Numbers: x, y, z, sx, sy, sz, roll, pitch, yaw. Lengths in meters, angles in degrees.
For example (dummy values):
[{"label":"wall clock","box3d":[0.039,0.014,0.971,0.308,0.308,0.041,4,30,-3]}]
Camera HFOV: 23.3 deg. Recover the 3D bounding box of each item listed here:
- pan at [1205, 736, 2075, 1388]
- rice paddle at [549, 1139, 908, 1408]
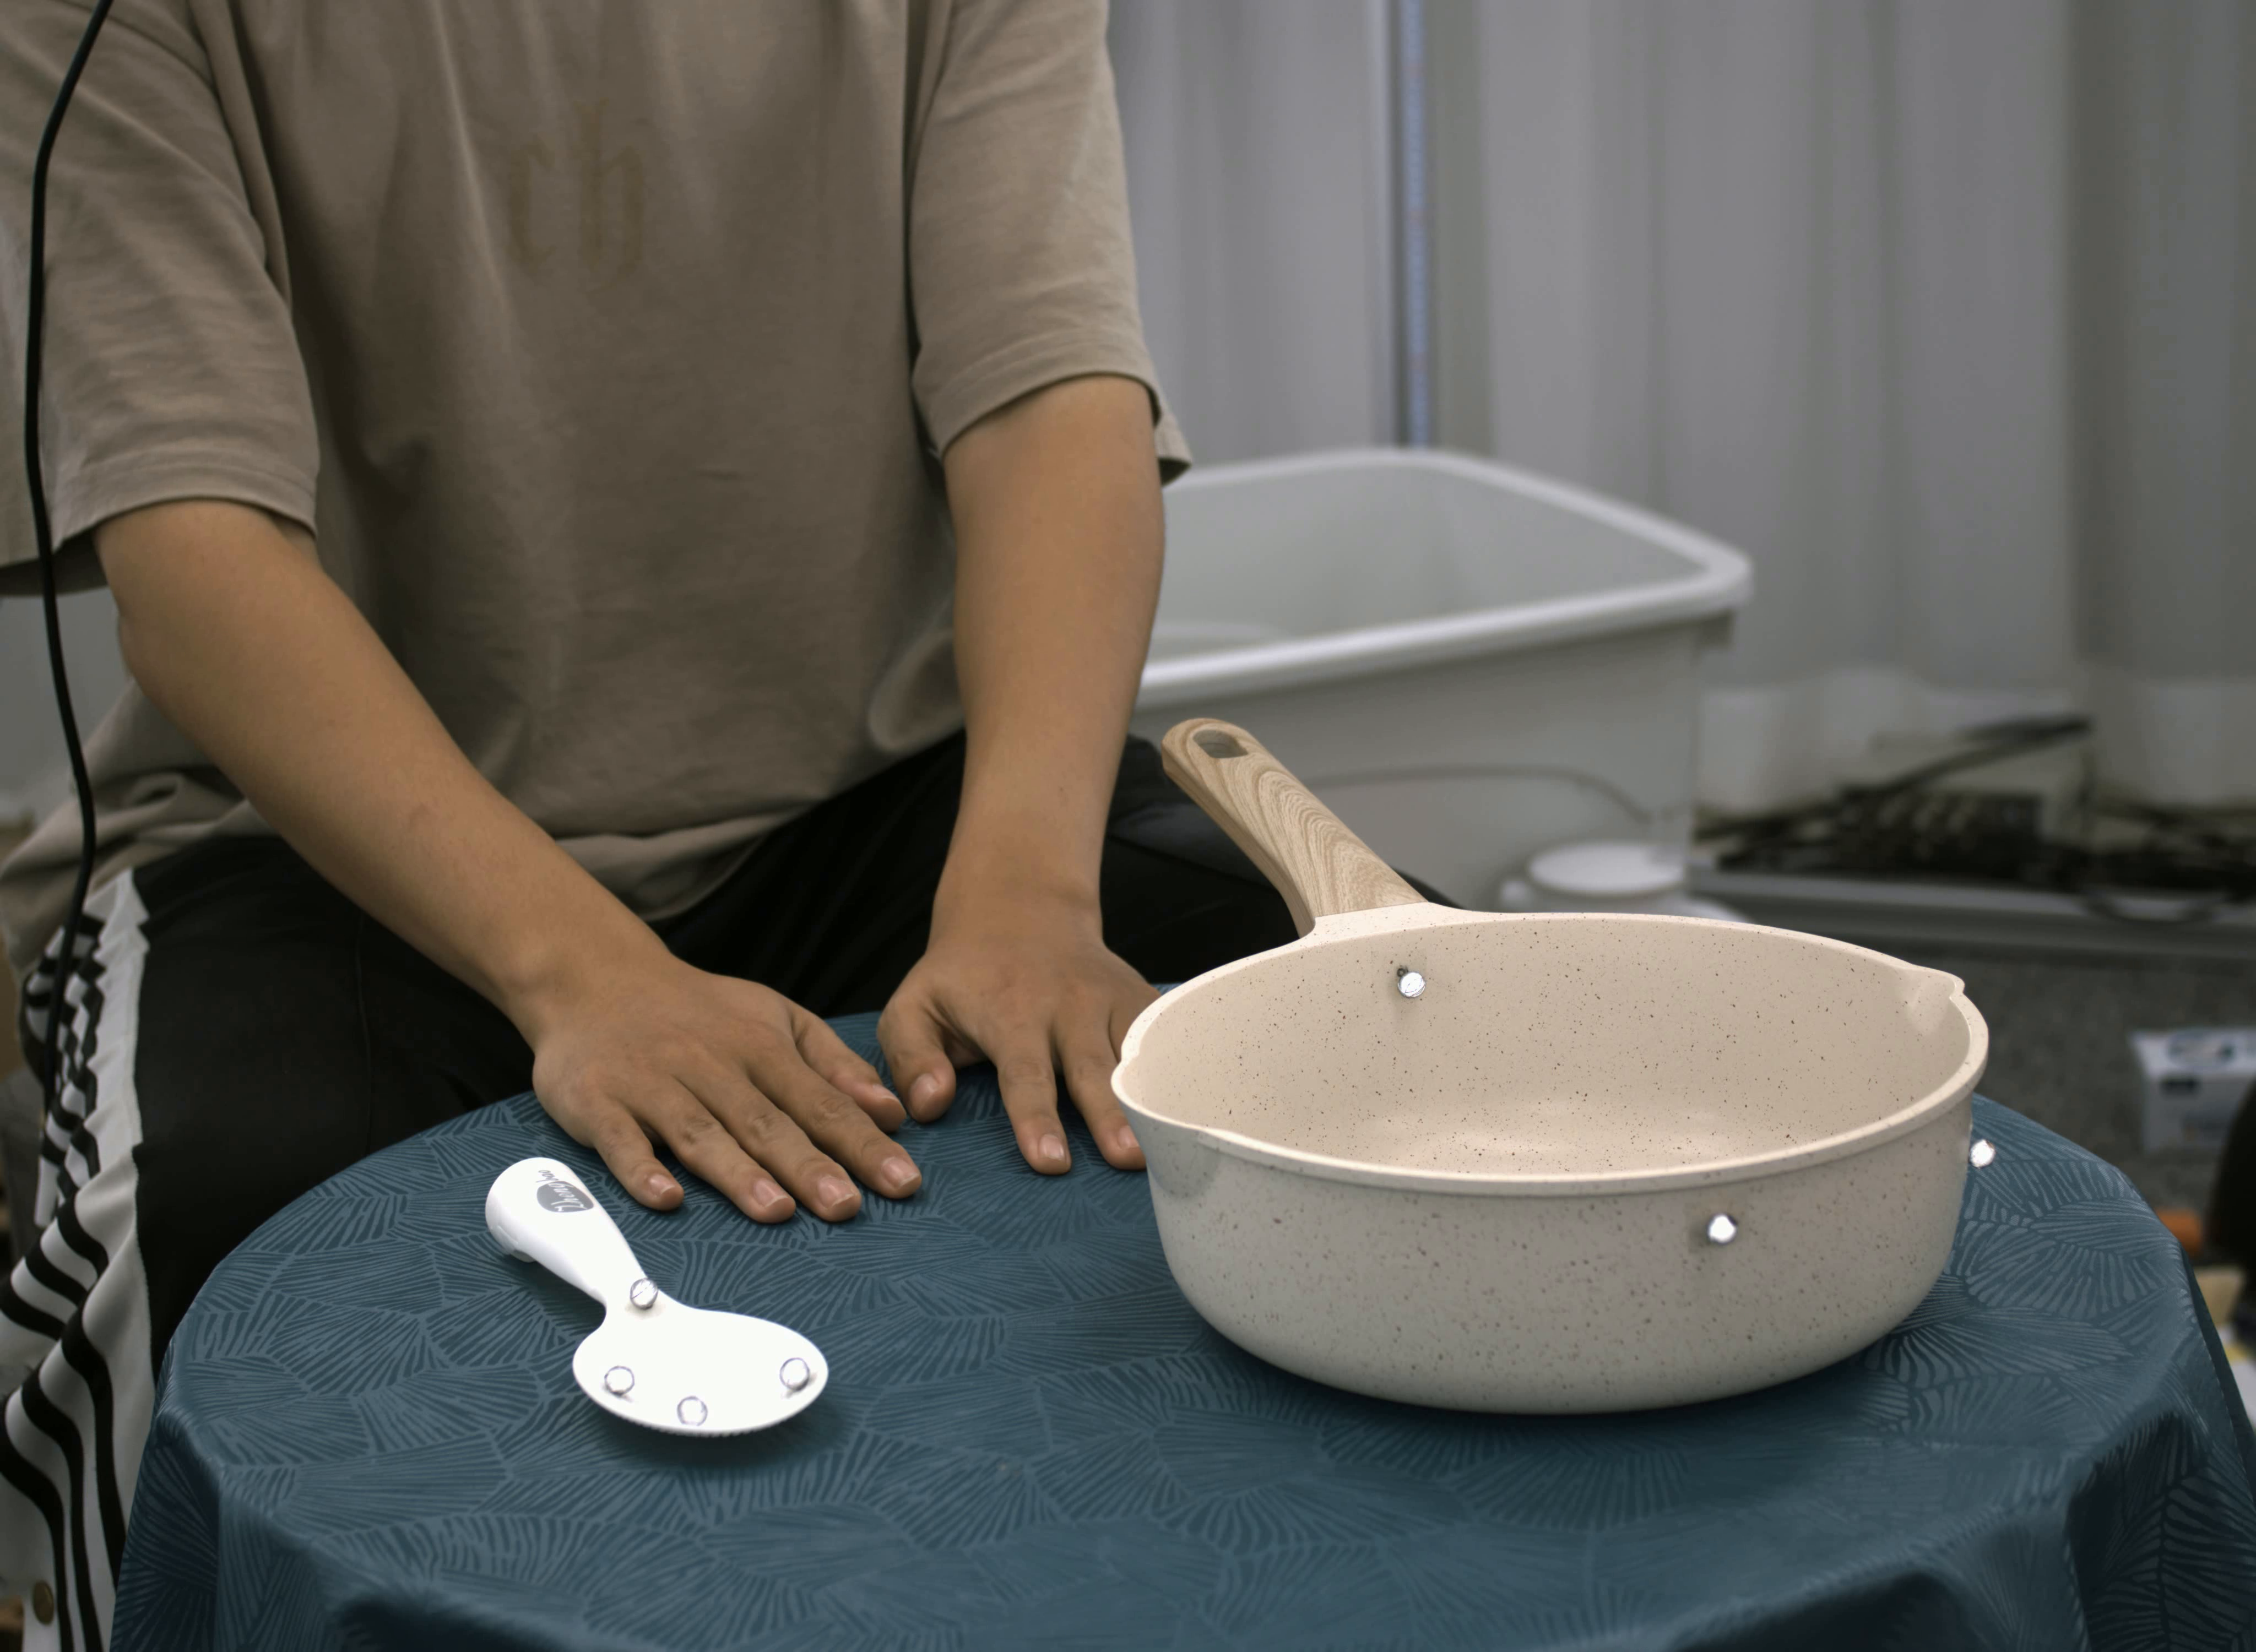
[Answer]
[{"label":"pan","box3d":[0.120,0.065,1.681,0.262,0.101,0.438,-10,16,-17]},{"label":"rice paddle","box3d":[-0.122,0.132,1.593,0.068,0.029,0.207,-11,17,-22]}]
